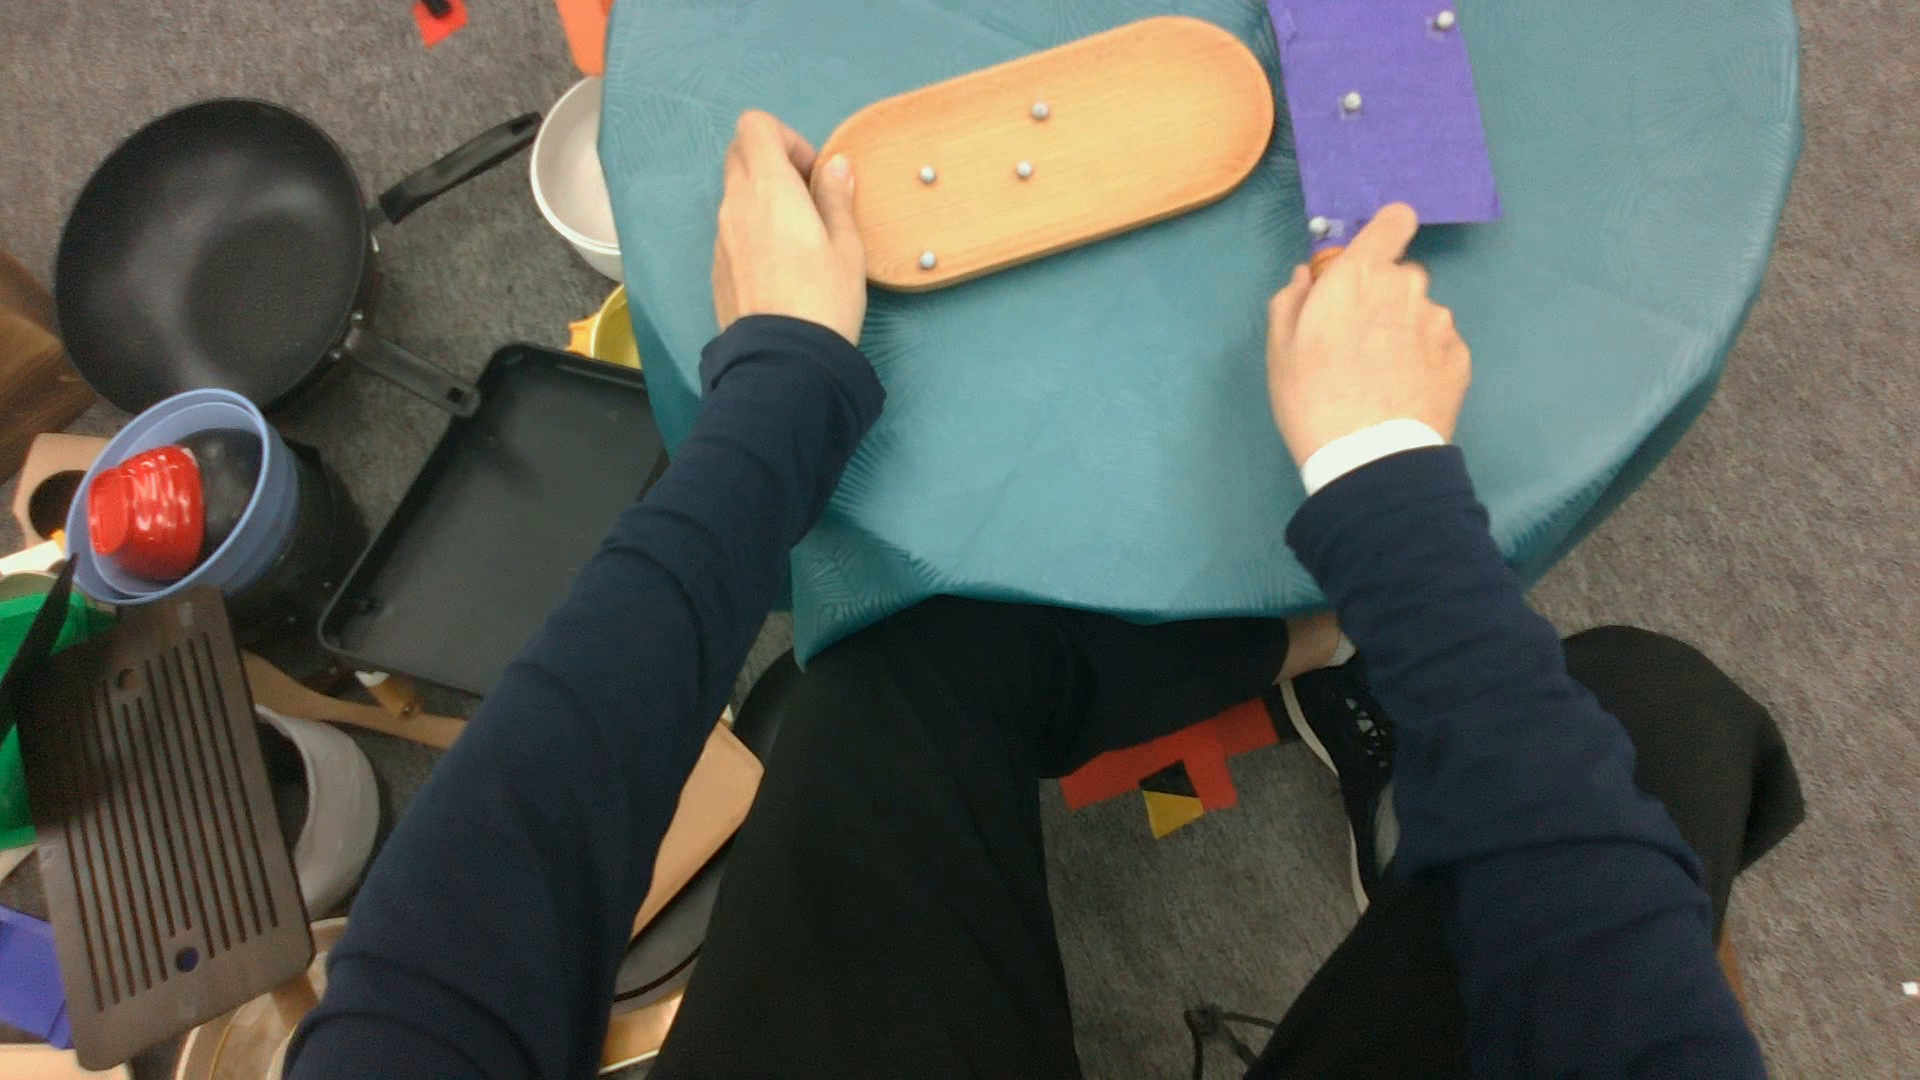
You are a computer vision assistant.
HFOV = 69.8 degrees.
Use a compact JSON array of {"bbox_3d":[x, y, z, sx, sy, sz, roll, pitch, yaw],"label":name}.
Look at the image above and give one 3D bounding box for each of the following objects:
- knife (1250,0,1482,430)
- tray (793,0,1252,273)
[{"bbox_3d":[0.192,-0.200,0.648,0.104,0.032,0.316,-4,69,-5],"label":"knife"},{"bbox_3d":[0.031,-0.199,0.678,0.231,0.020,0.102,-18,77,-4],"label":"tray"}]
